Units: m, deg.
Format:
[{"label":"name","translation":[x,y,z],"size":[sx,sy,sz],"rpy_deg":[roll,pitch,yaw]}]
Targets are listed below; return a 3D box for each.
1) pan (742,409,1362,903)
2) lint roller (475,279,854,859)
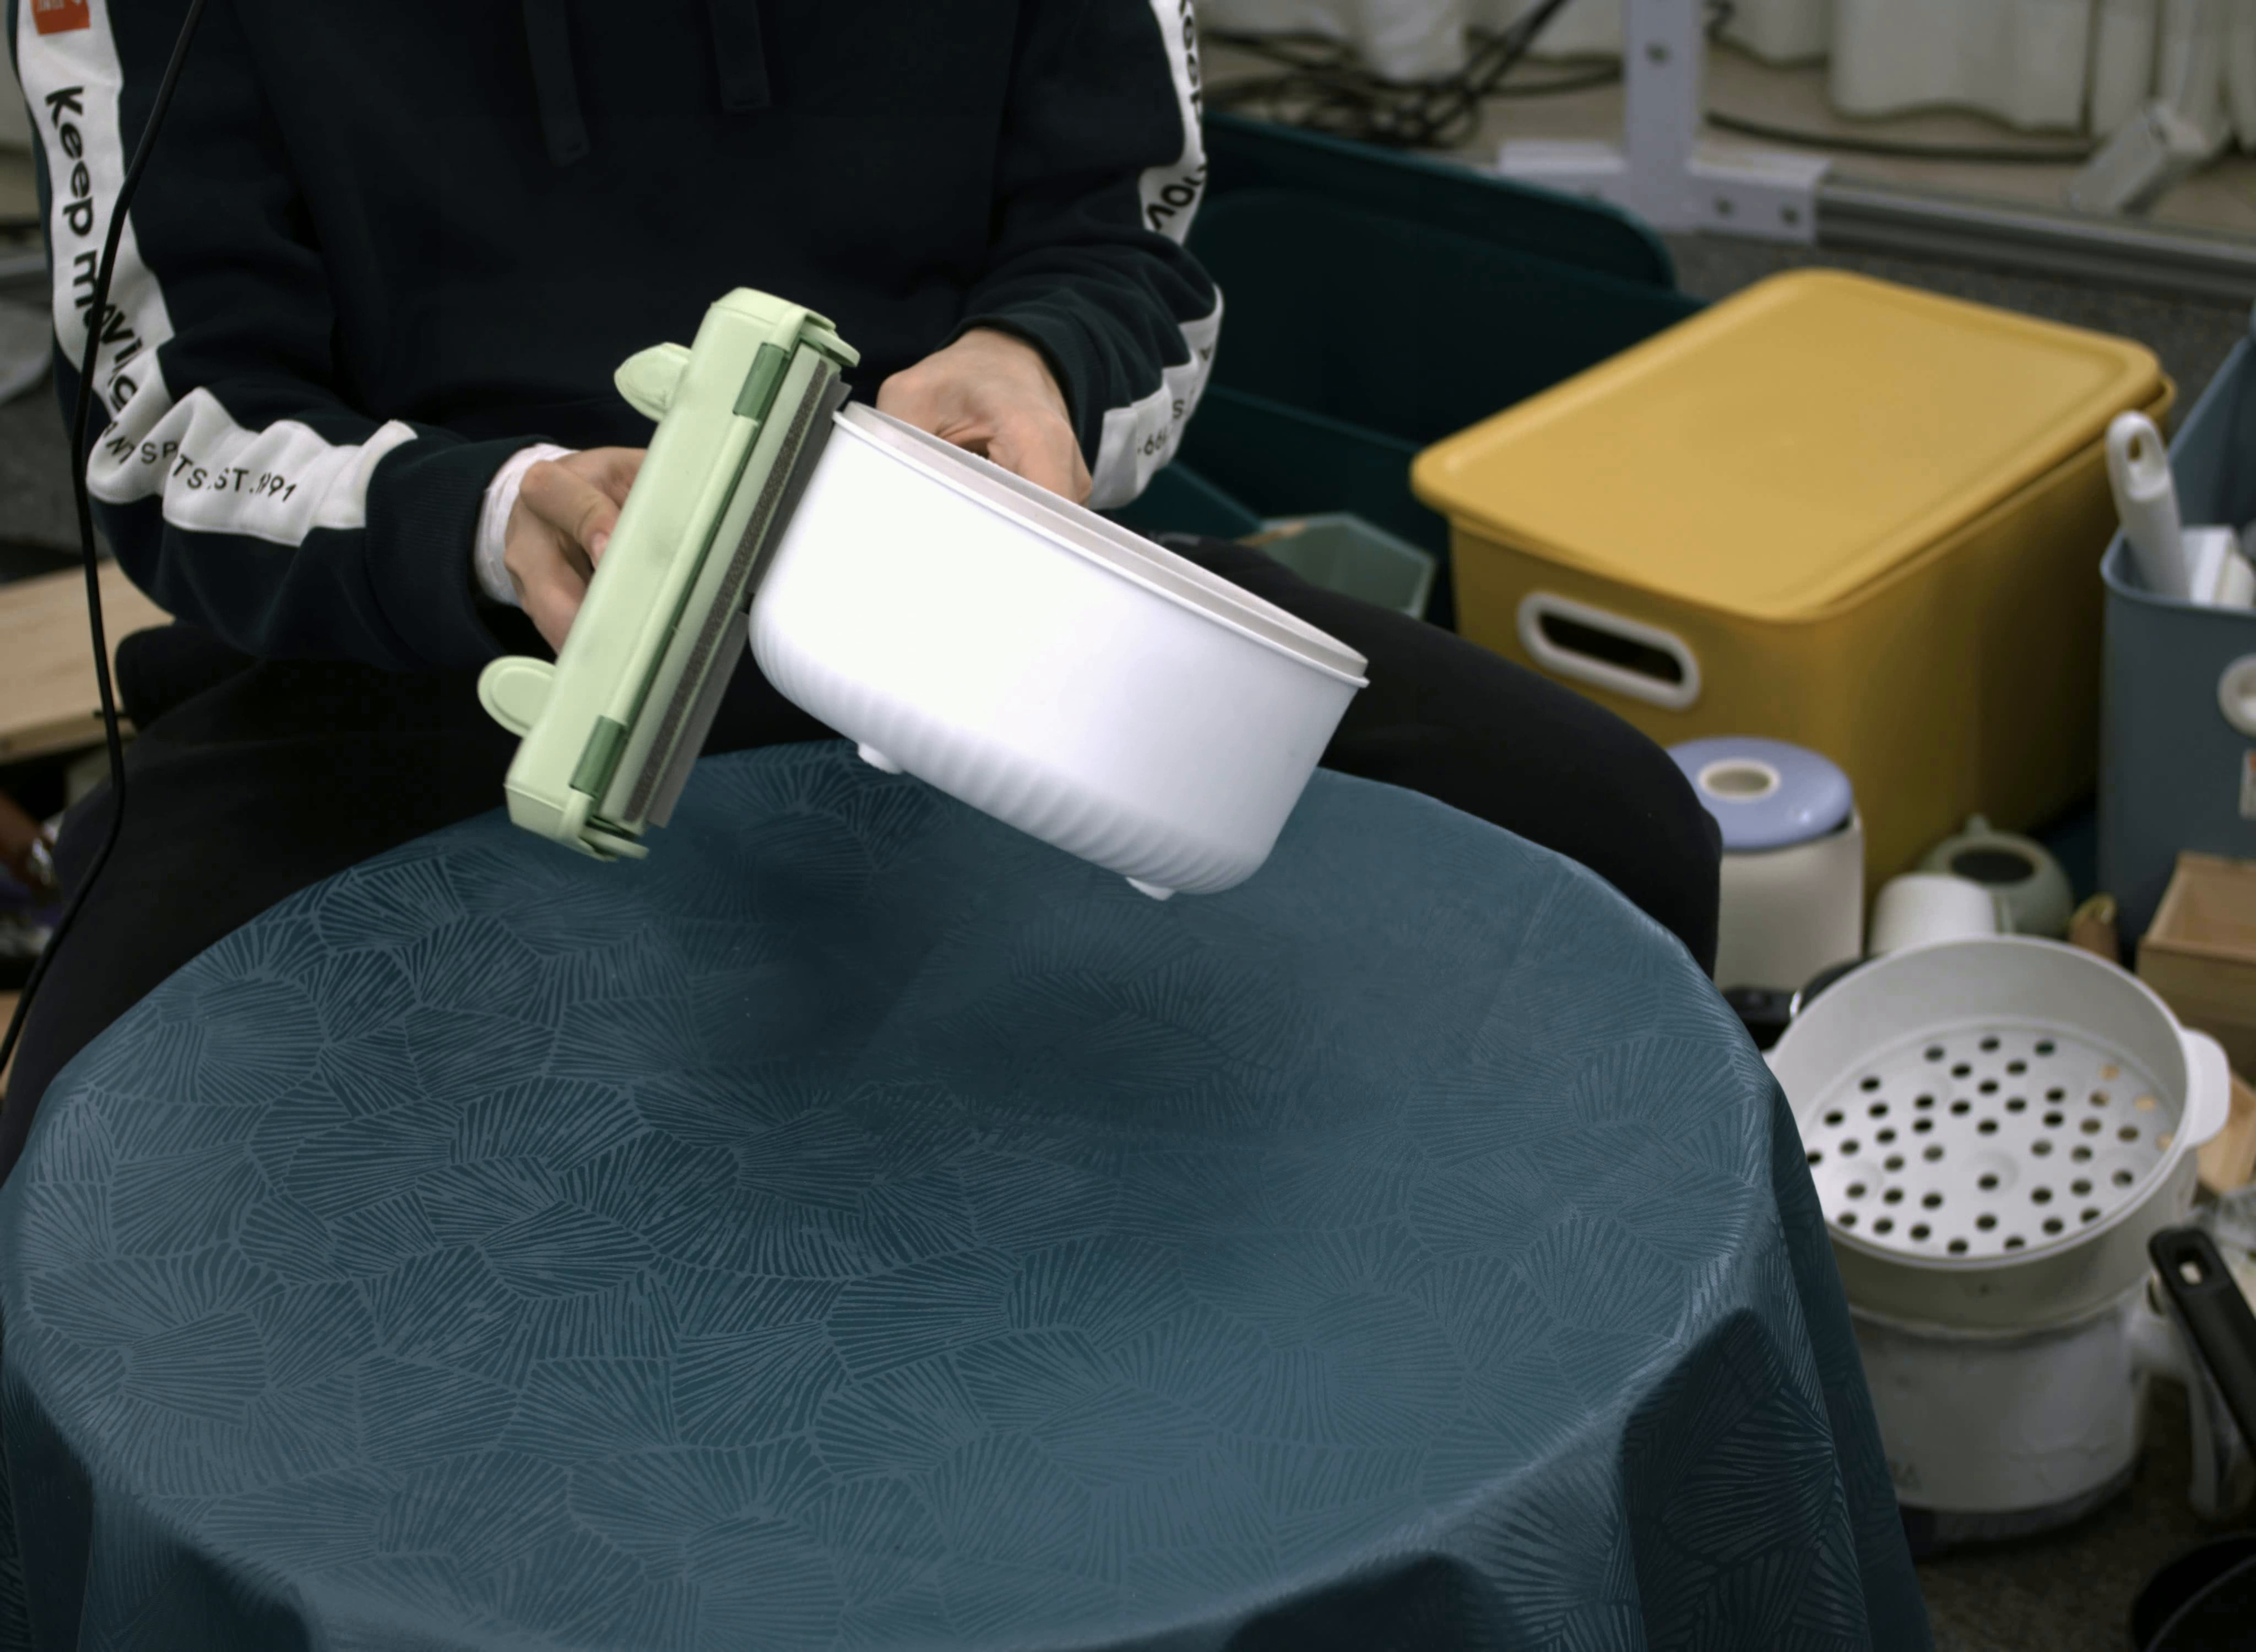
[{"label":"pan","translation":[-0.052,-0.066,1.959],"size":[0.200,0.102,0.355],"rpy_deg":[25,3,-19]},{"label":"lint roller","translation":[-0.175,-0.093,1.936],"size":[0.082,0.200,0.183],"rpy_deg":[25,-5,-21]}]
